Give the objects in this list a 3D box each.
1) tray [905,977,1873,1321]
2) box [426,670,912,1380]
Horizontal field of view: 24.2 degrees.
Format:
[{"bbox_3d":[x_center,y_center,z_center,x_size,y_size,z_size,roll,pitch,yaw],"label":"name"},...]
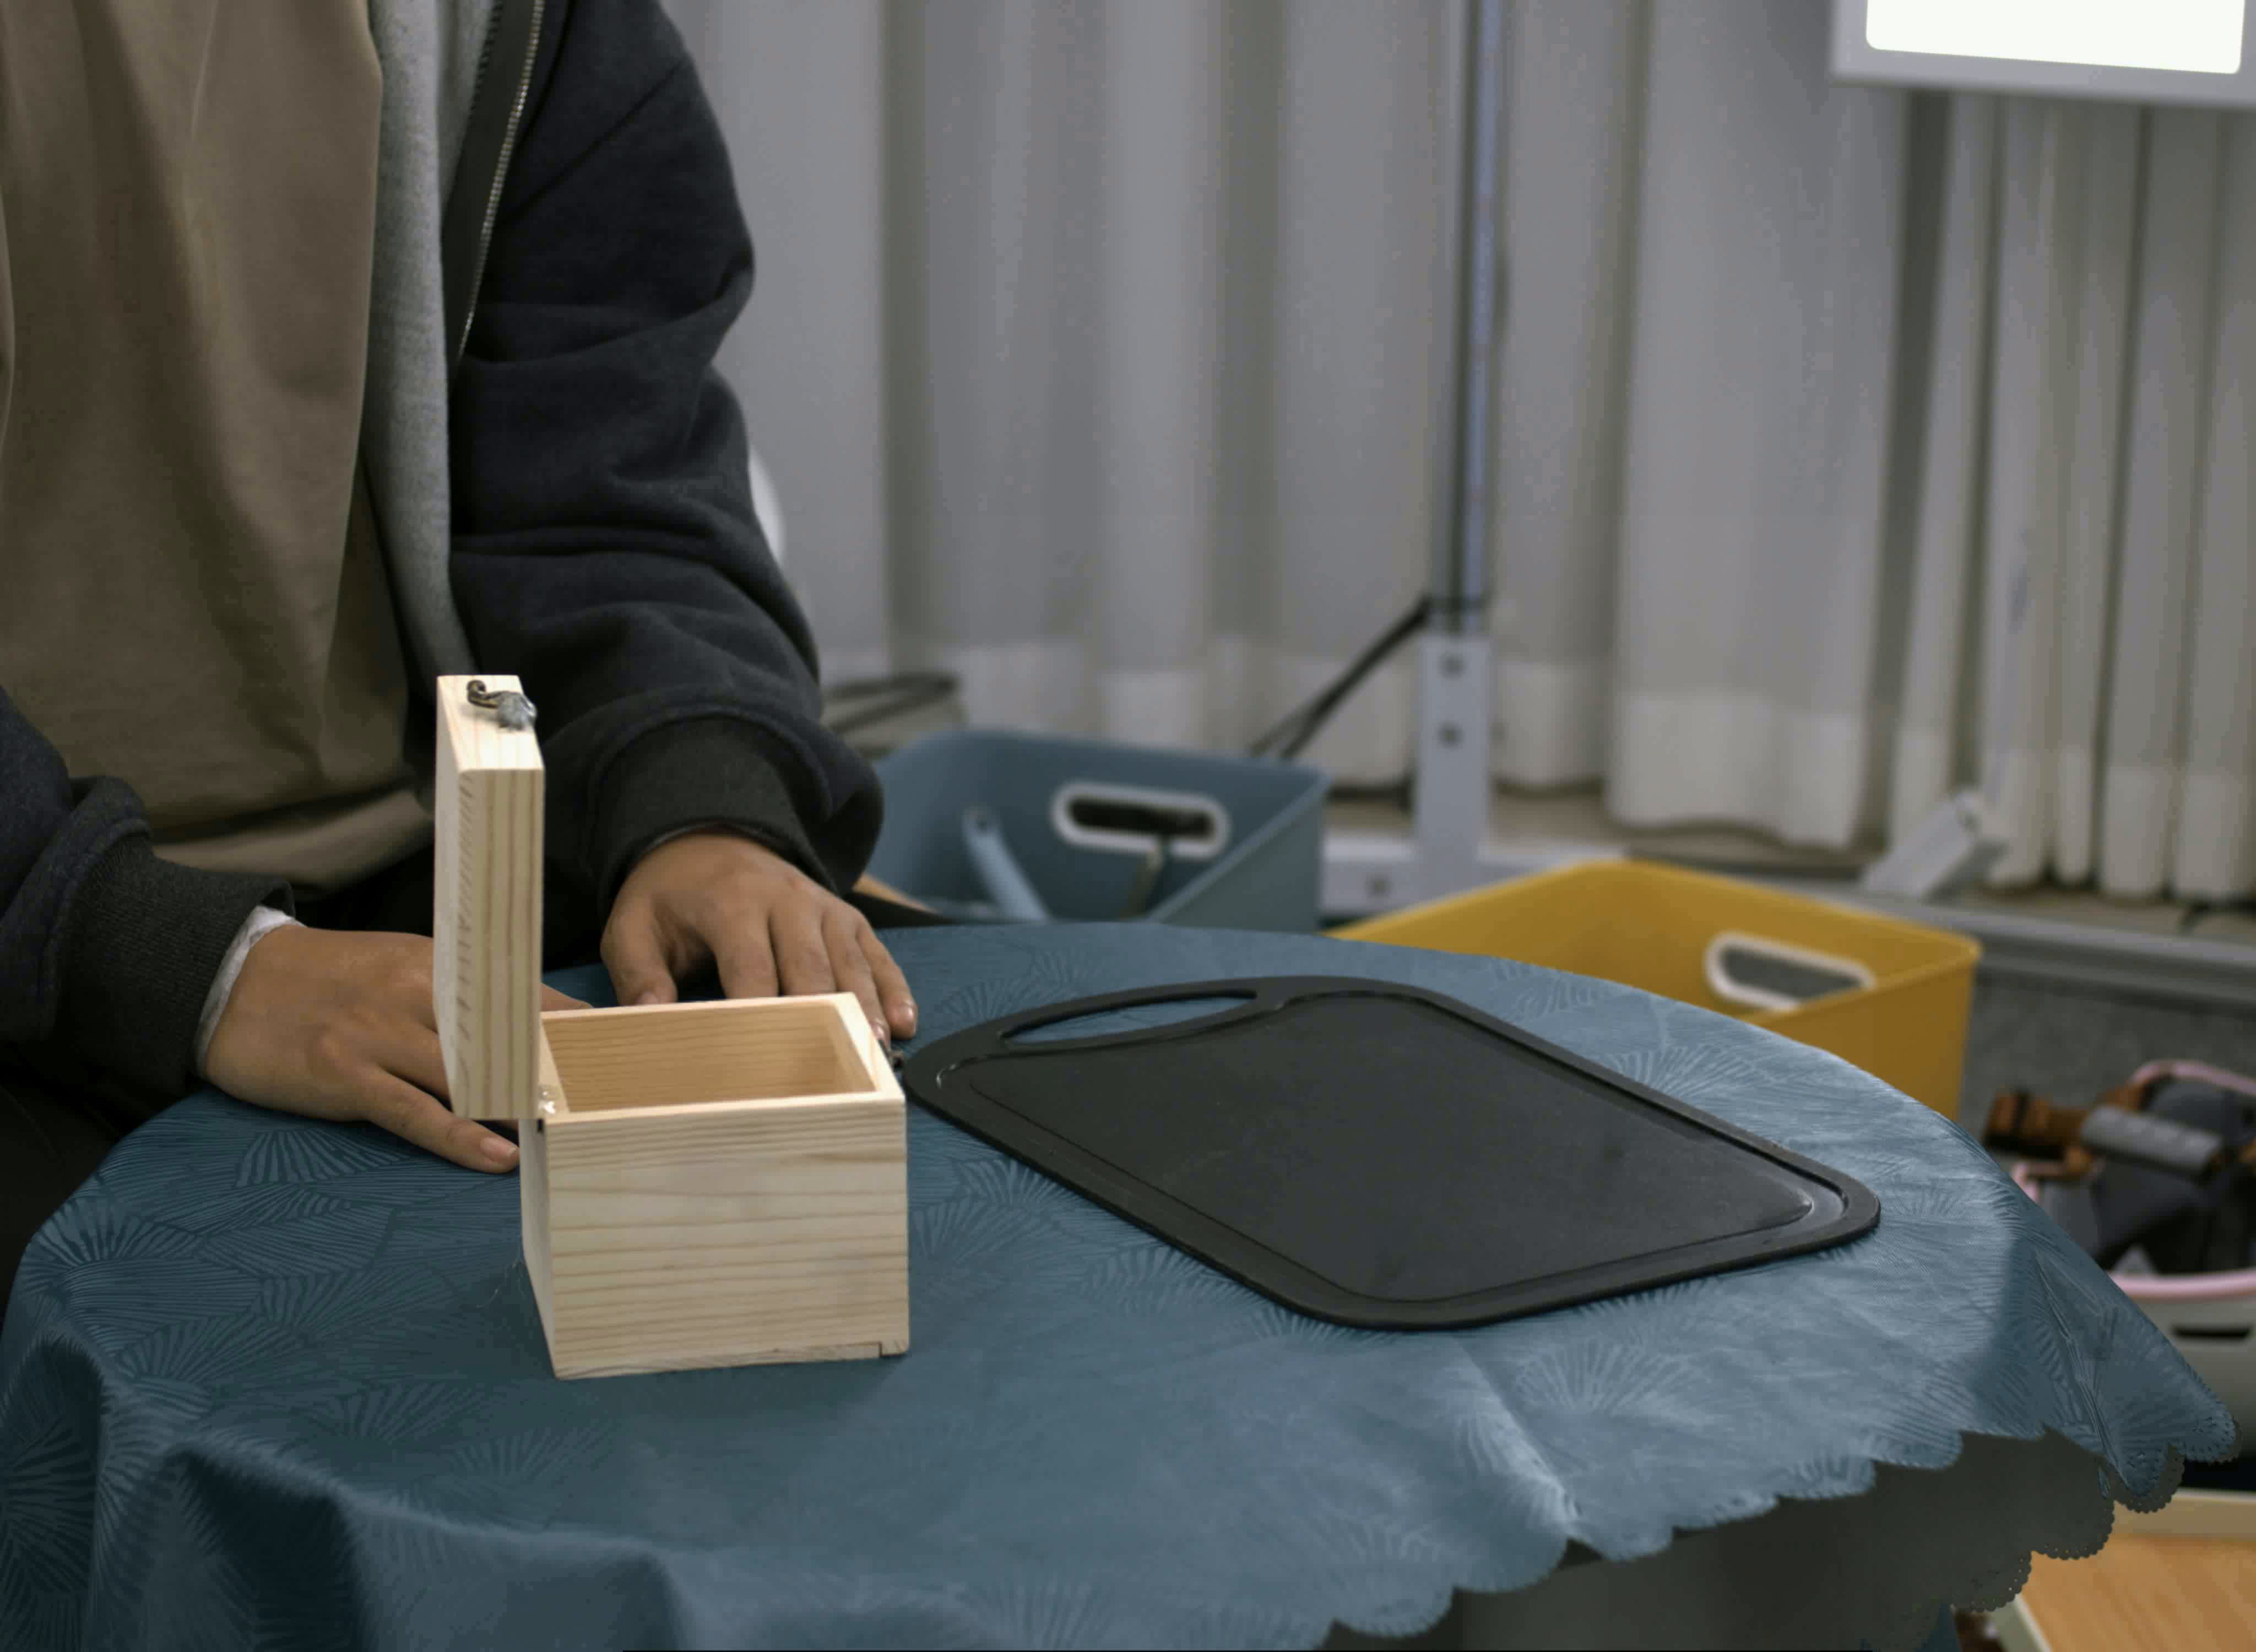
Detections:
[{"bbox_3d":[0.071,0.095,1.674,0.212,0.010,0.321,-8,18,-30],"label":"tray"},{"bbox_3d":[-0.130,0.051,1.492,0.134,0.186,0.101,-5,17,-11],"label":"box"}]
